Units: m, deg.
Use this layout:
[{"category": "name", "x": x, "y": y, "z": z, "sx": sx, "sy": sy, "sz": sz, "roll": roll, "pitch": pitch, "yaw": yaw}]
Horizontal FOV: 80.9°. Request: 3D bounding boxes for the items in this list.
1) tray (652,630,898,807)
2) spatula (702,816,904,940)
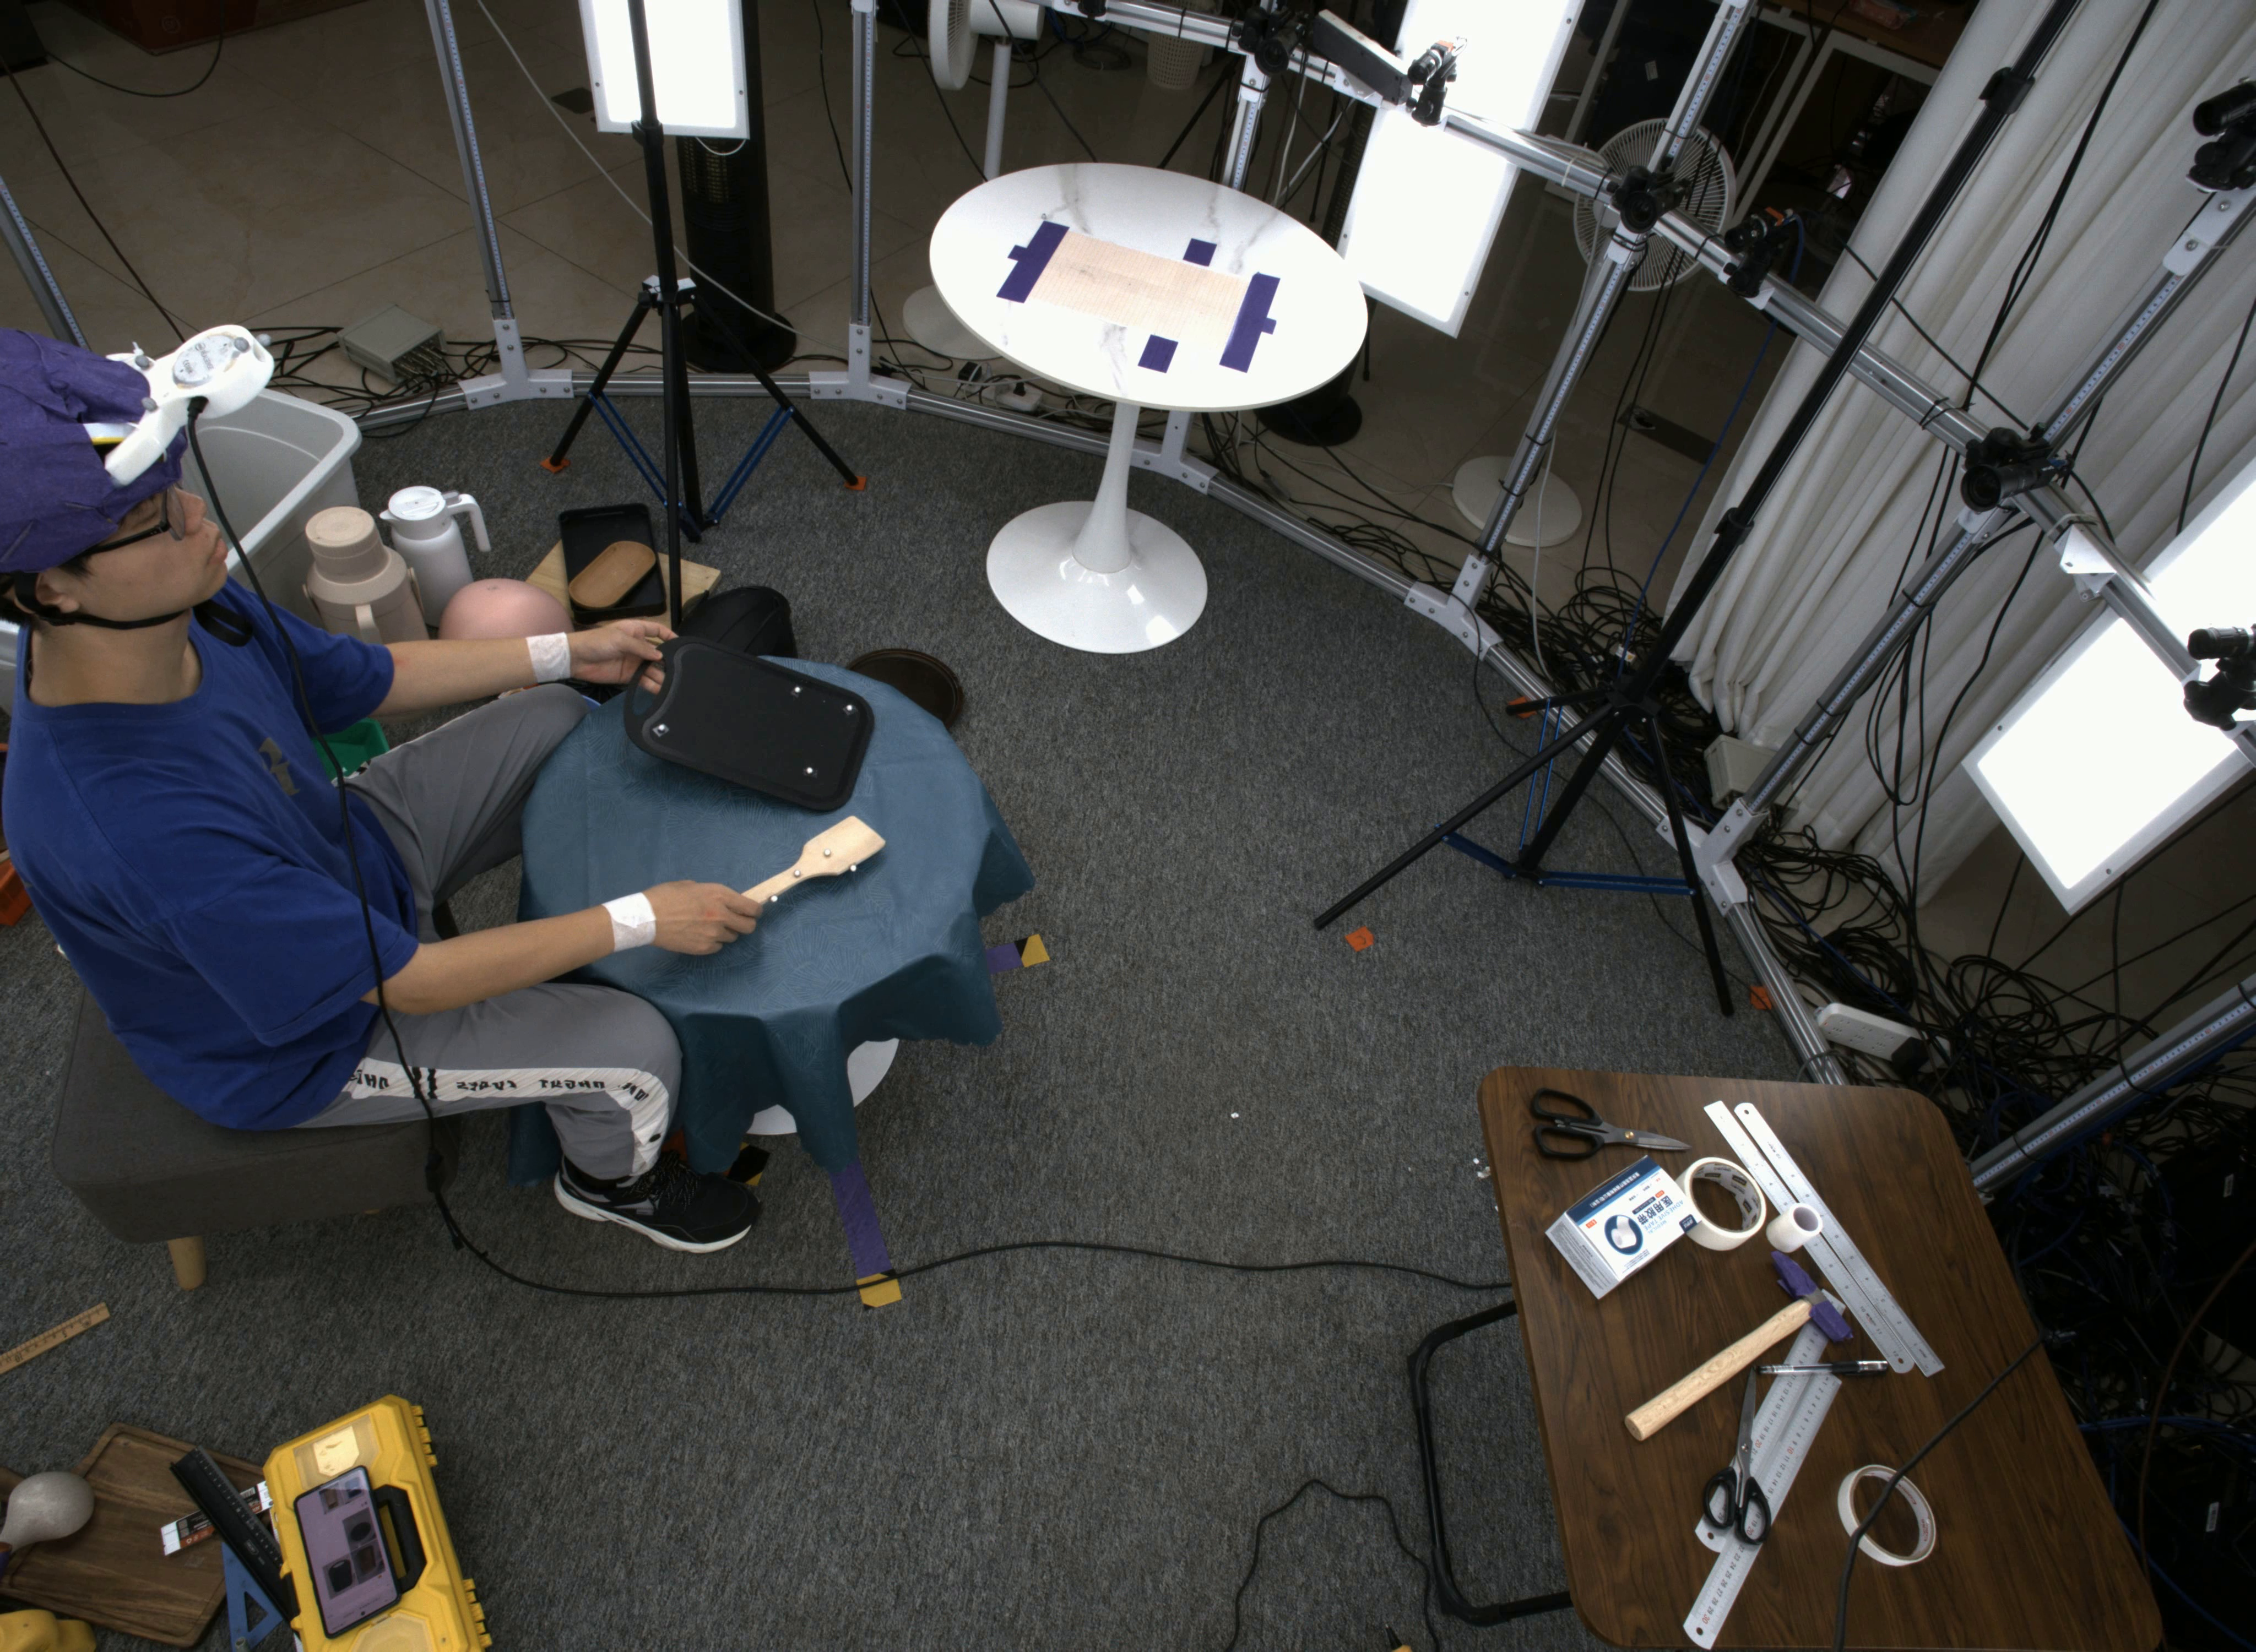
[{"category": "tray", "x": -0.487, "y": -0.153, "z": 1.775, "sx": 0.328, "sy": 0.010, "sz": 0.208, "roll": 22, "pitch": 54, "yaw": -15}, {"category": "spatula", "x": -0.414, "y": 0.068, "z": 1.649, "sx": 0.070, "sy": 0.011, "sz": 0.294, "roll": 40, "pitch": 48, "yaw": 20}]
